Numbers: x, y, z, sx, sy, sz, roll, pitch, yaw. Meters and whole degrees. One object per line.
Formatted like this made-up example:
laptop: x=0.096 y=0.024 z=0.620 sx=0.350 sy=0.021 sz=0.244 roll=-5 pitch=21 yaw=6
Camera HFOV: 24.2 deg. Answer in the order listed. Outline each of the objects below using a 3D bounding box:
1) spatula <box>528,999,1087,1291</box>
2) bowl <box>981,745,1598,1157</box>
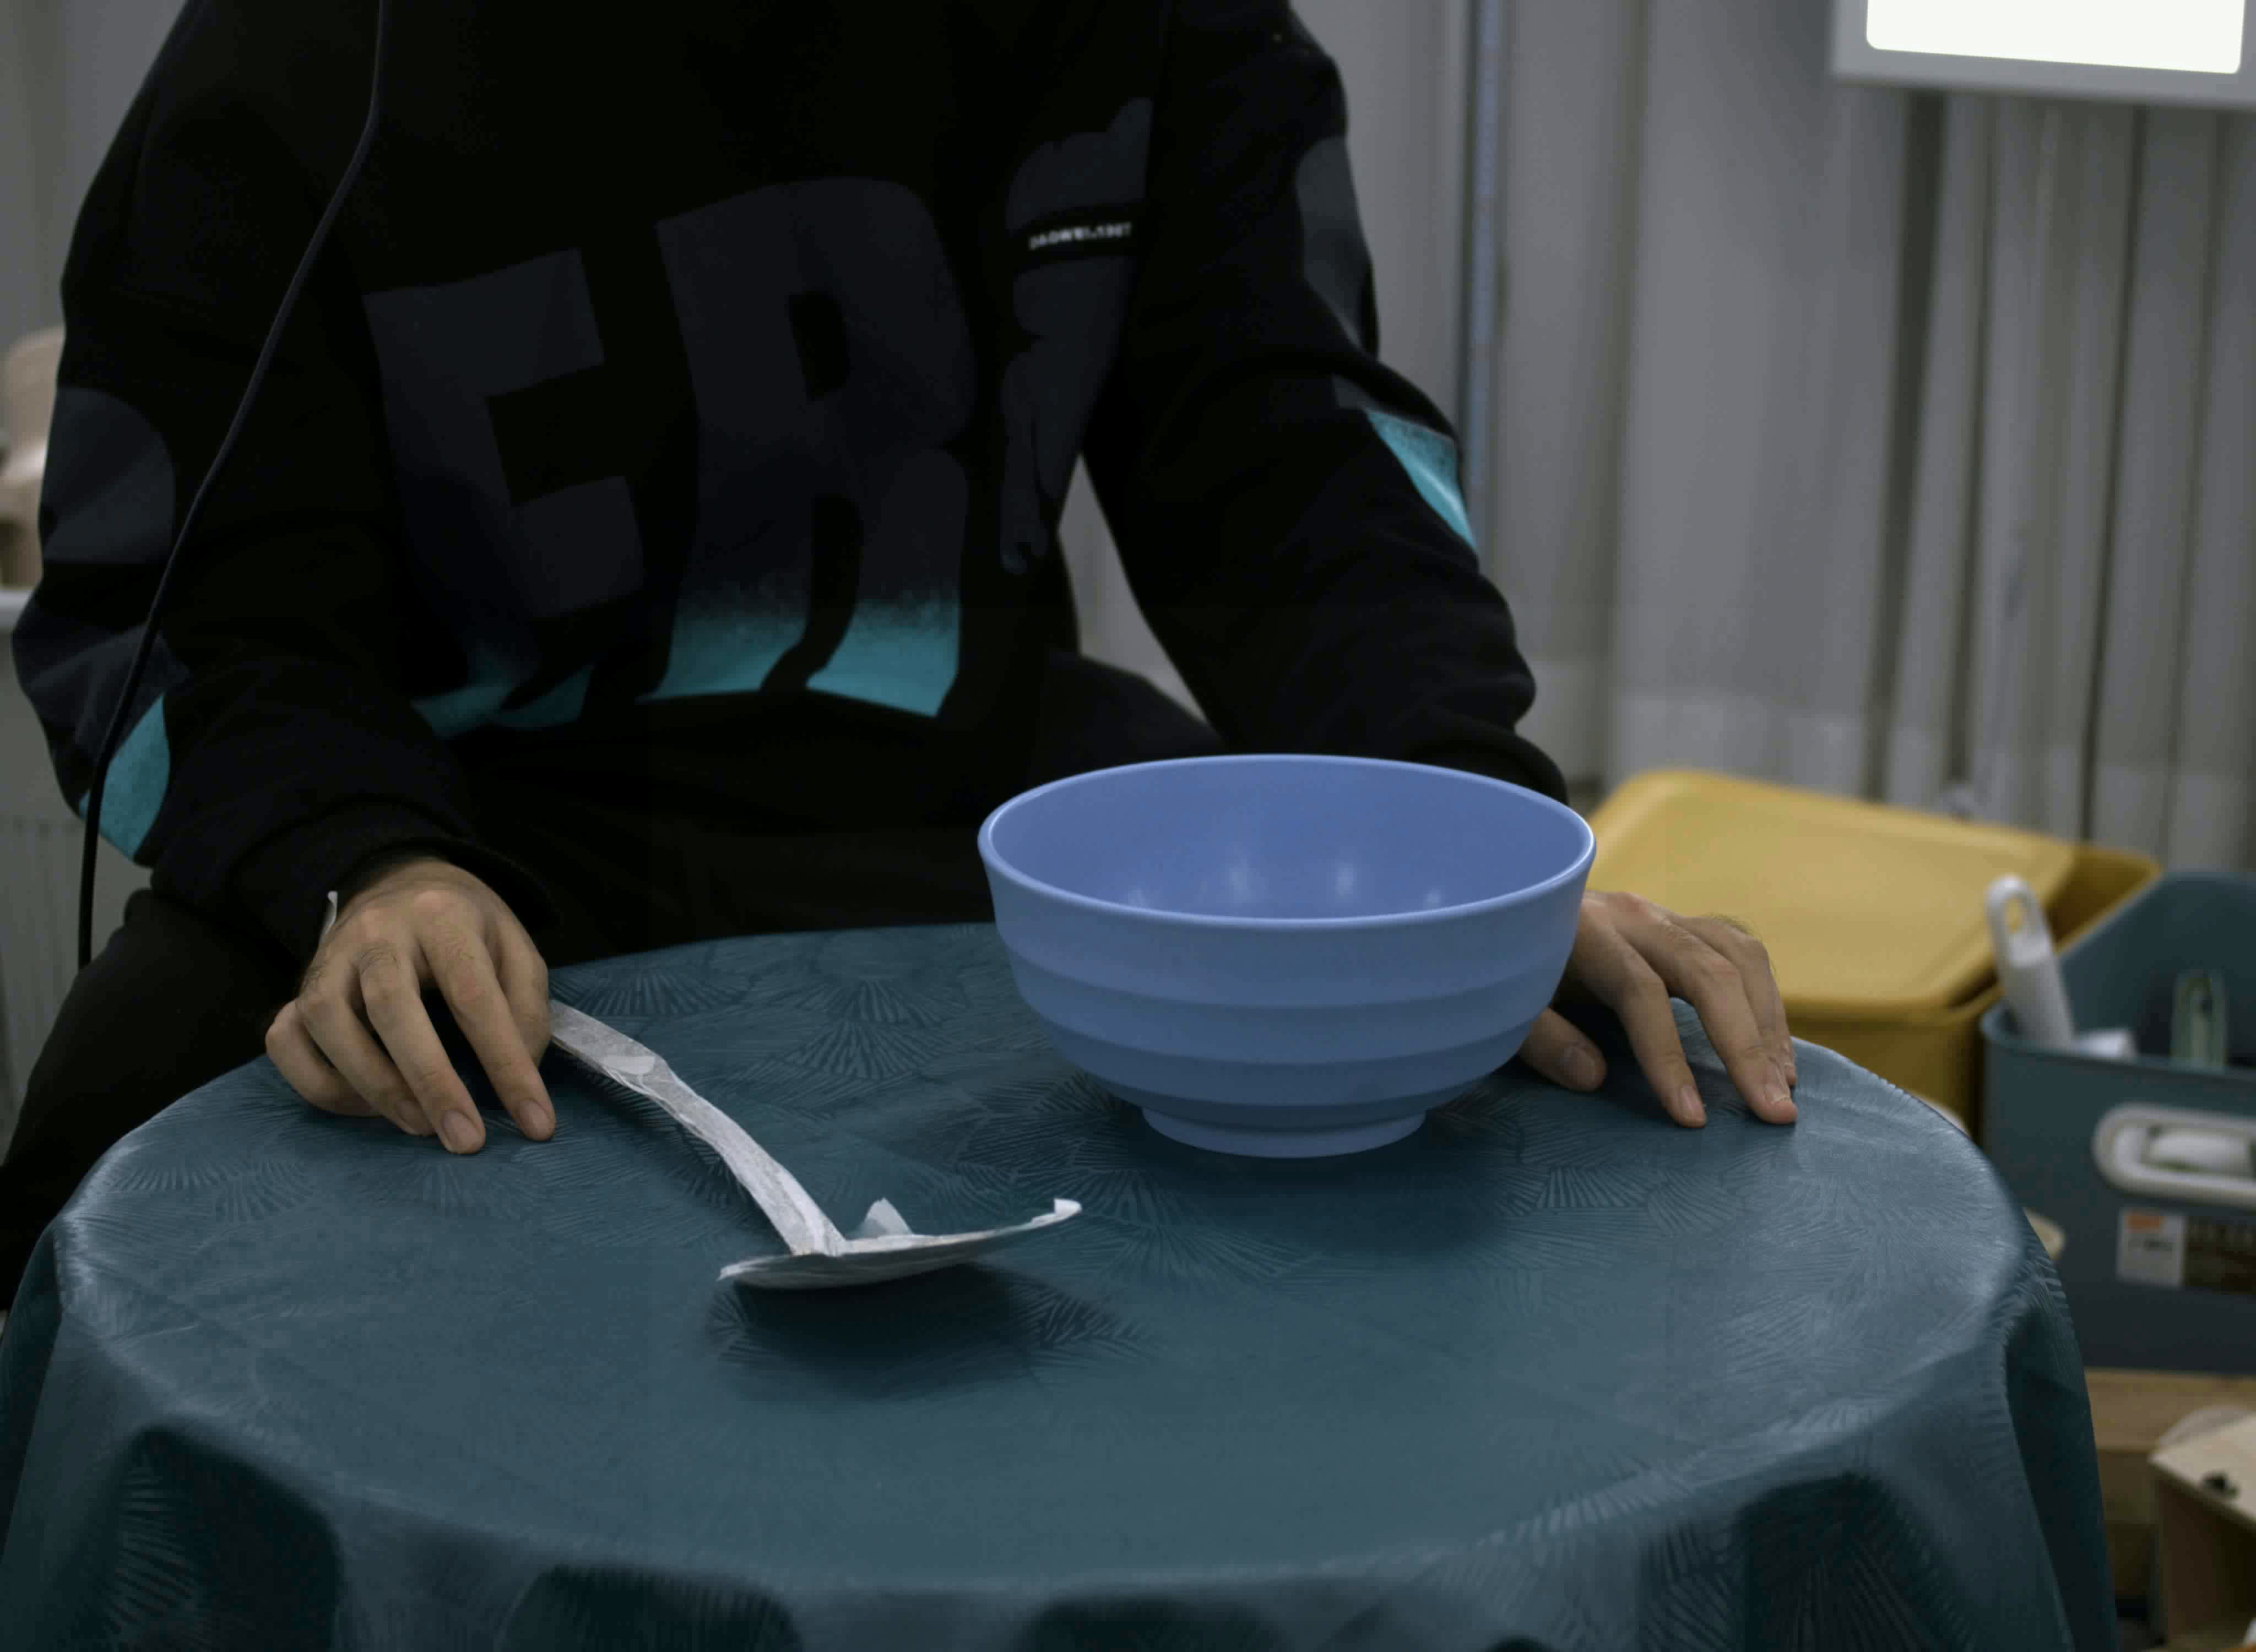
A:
spatula: x=-0.125 y=0.089 z=1.633 sx=0.099 sy=0.045 sz=0.360 roll=-8 pitch=18 yaw=-25
bowl: x=0.051 y=0.046 z=1.687 sx=0.196 sy=0.096 sz=0.195 roll=1 pitch=18 yaw=0
